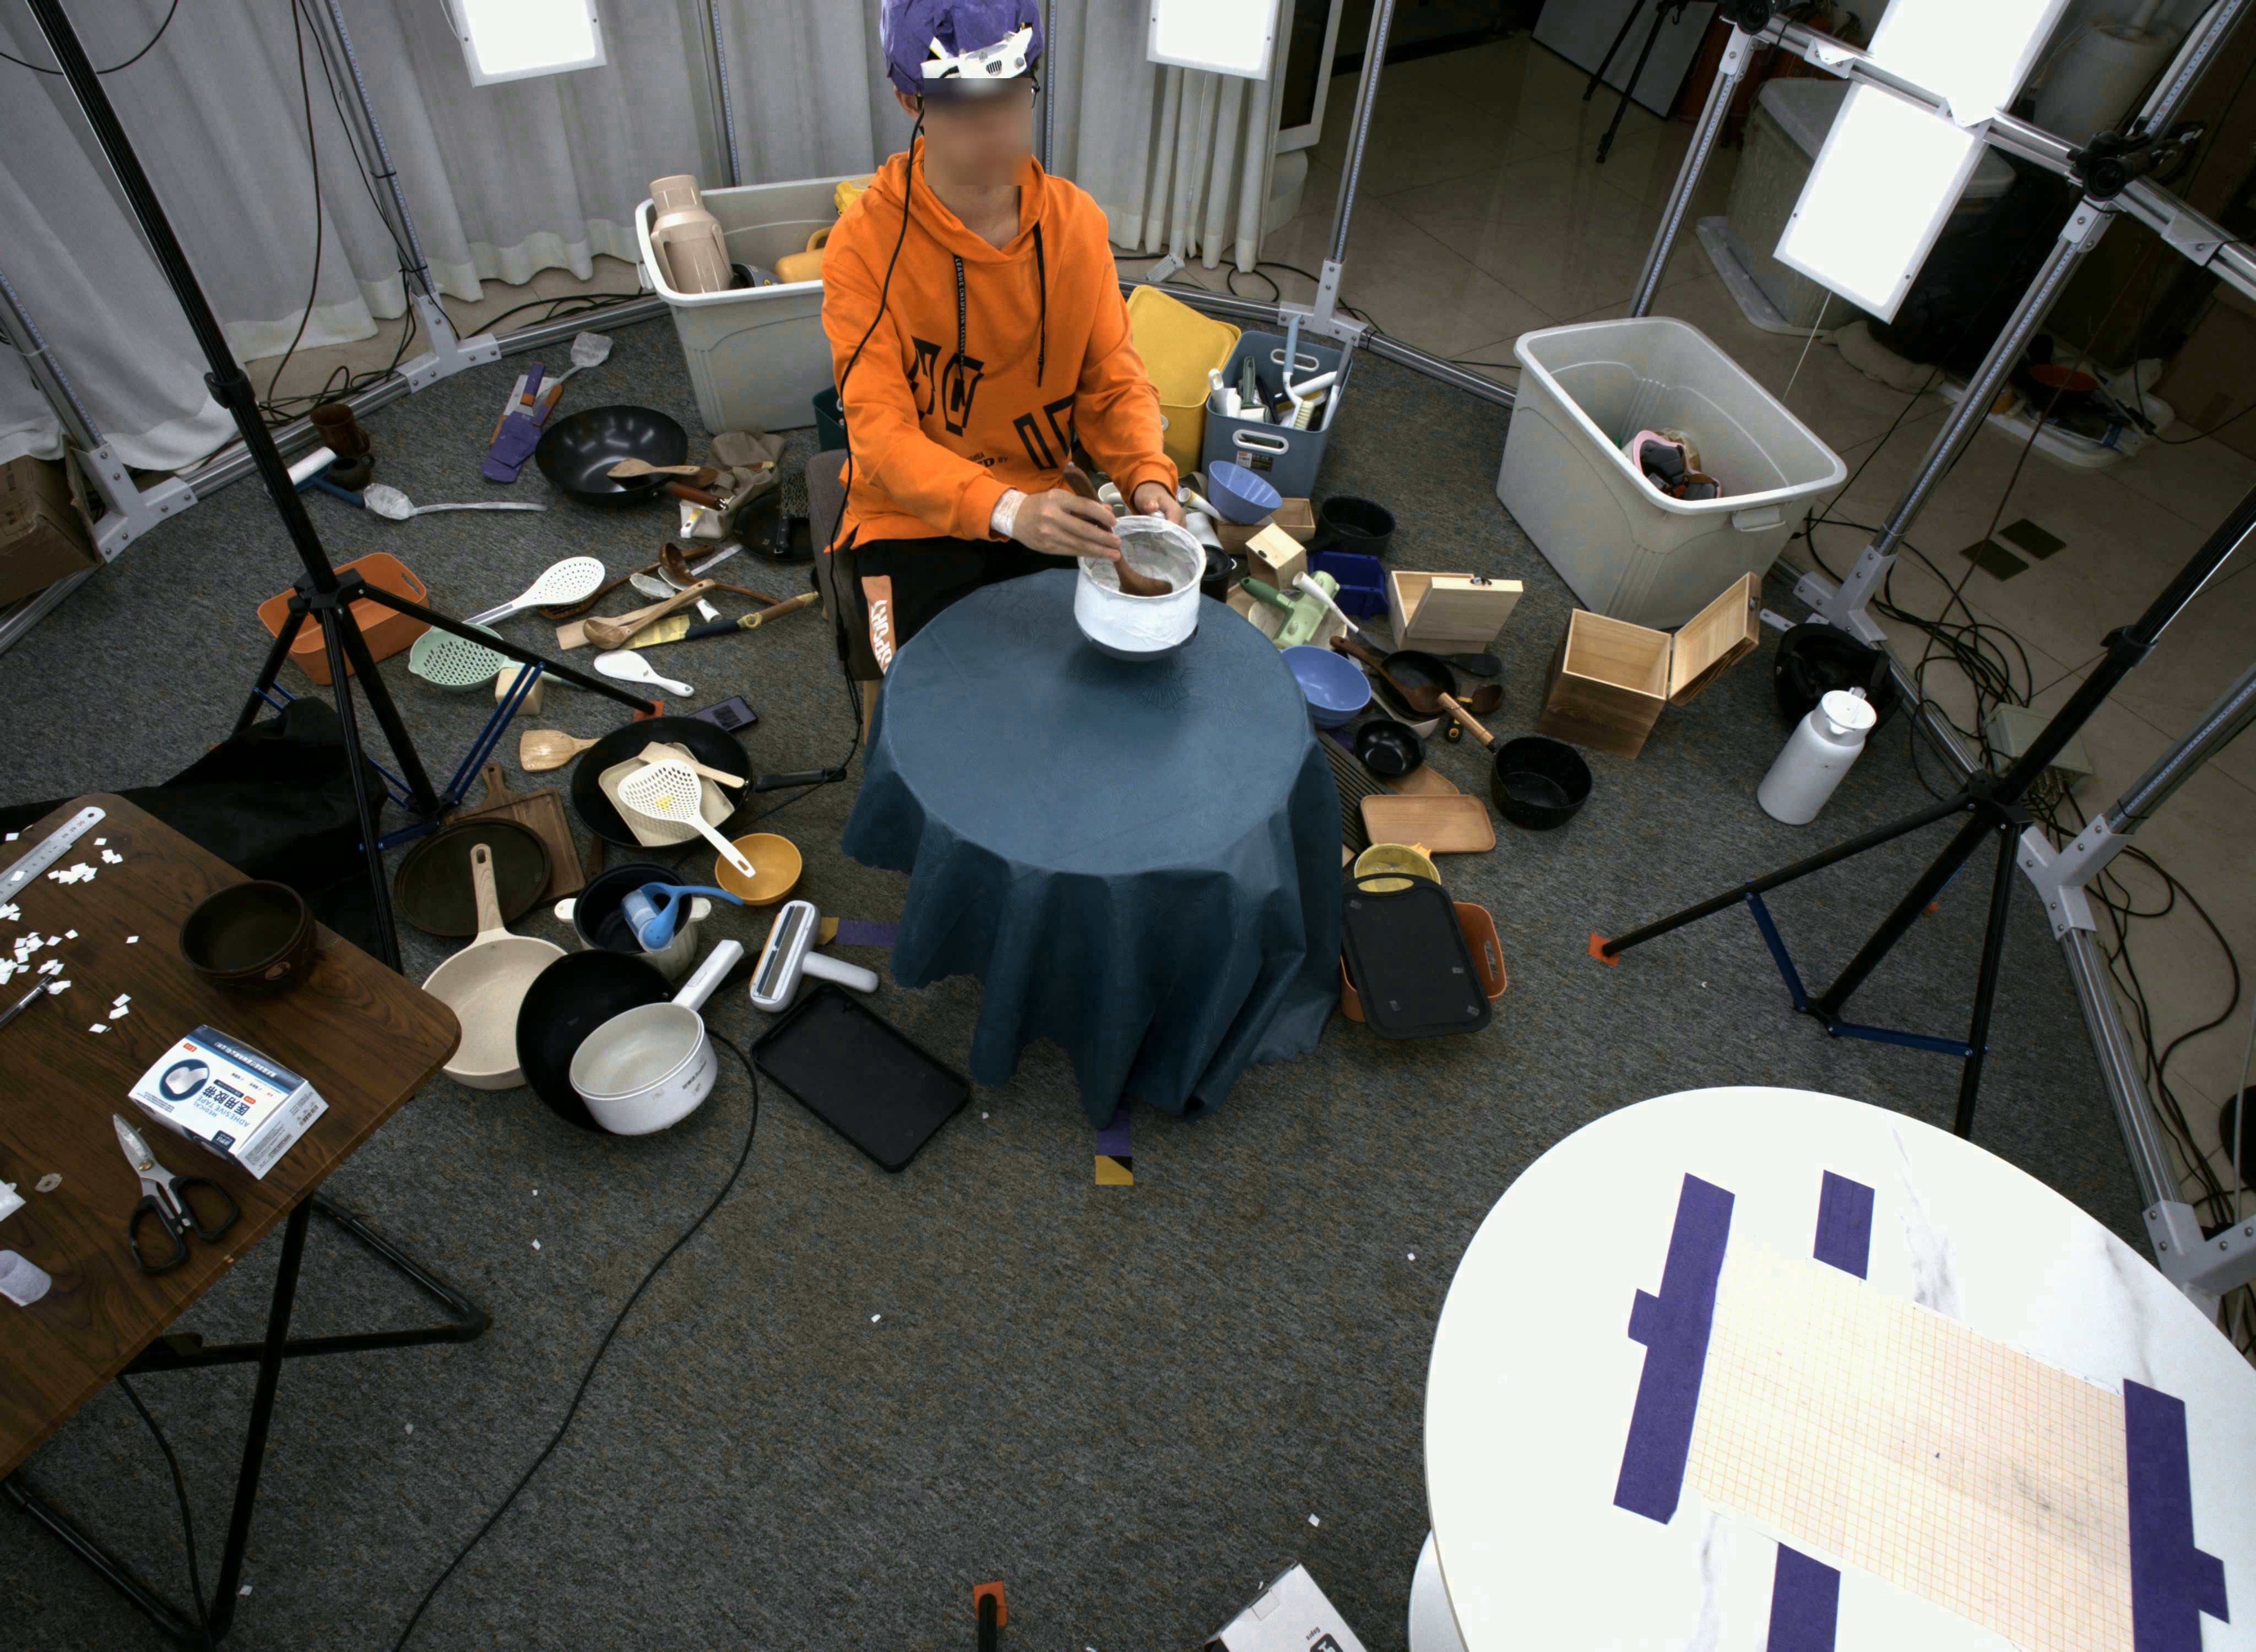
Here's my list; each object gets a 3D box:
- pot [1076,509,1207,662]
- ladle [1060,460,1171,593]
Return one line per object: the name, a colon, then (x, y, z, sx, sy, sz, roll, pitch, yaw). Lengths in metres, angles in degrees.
pot: (0.021, -0.350, 1.820, 0.179, 0.133, 0.239, 10, 49, 4)
ladle: (-0.020, -0.397, 1.729, 0.076, 0.254, 0.066, -14, 43, 25)
